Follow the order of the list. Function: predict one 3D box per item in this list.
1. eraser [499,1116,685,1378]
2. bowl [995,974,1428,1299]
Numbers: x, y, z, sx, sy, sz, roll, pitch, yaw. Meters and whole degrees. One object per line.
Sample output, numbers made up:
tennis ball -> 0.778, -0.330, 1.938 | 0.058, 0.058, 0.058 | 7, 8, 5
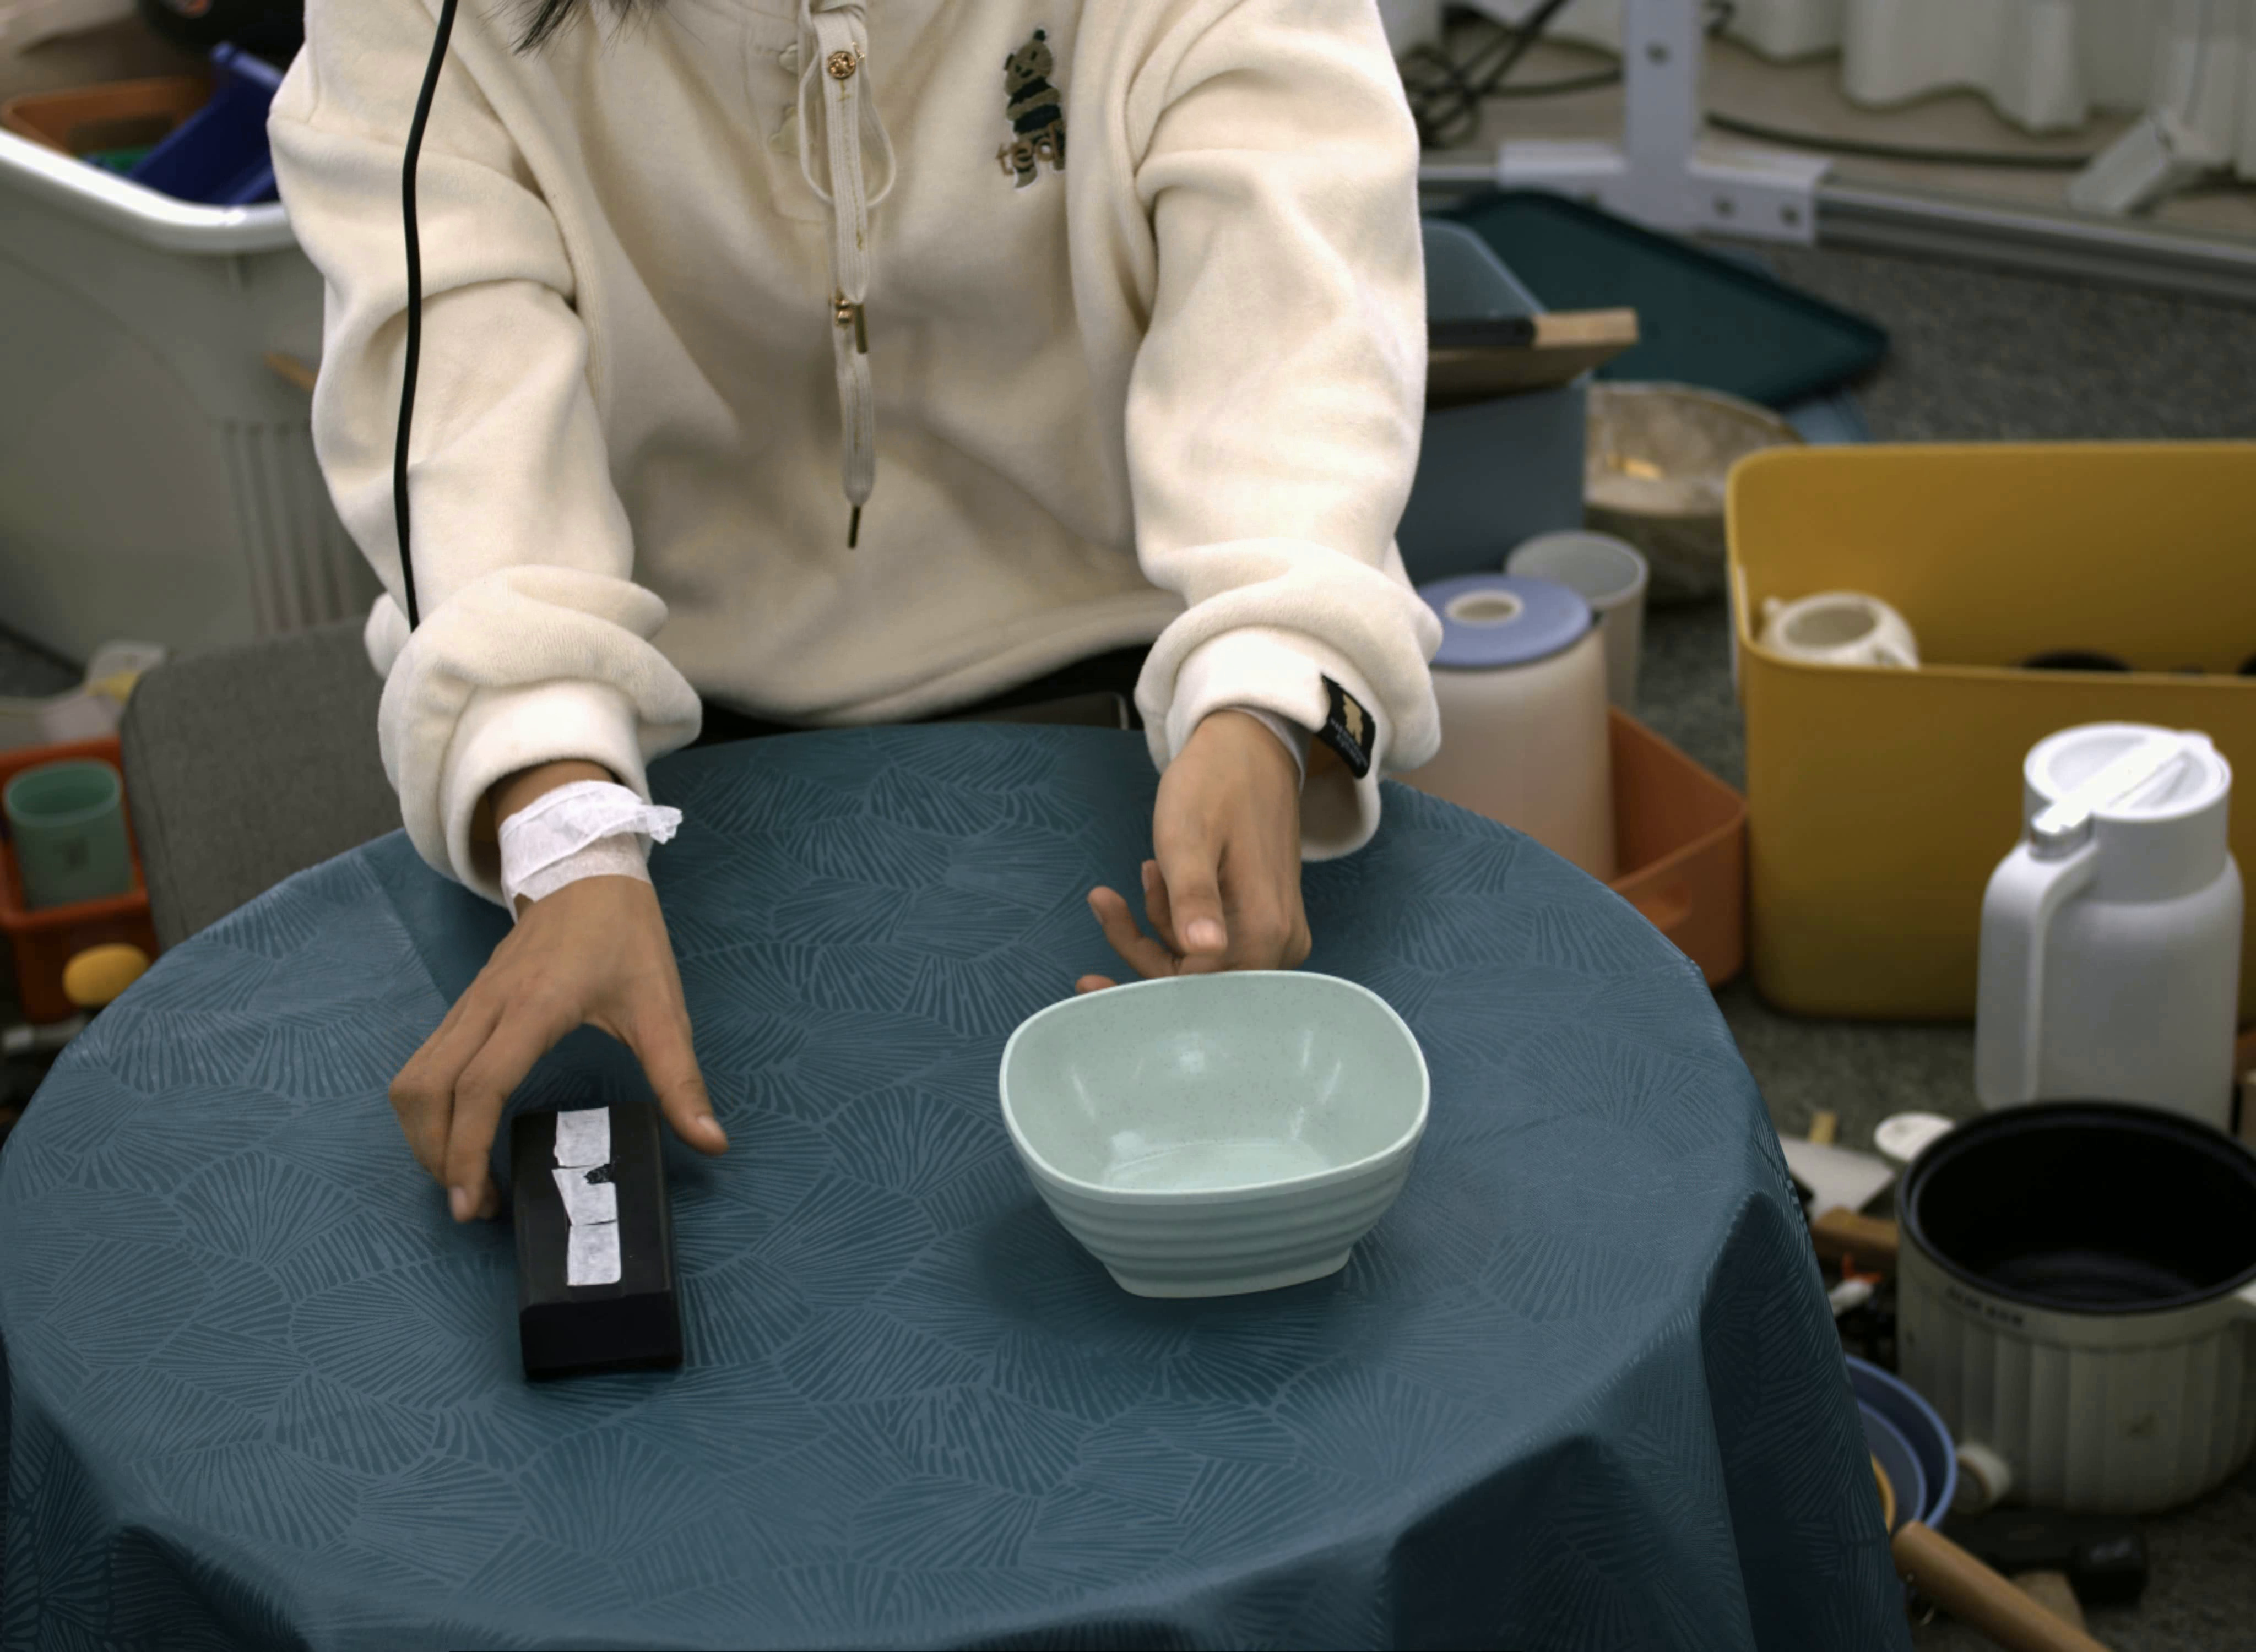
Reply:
eraser -> -0.174, 0.136, 1.822 | 0.053, 0.030, 0.127 | -5, 25, -7
bowl -> 0.027, 0.107, 1.827 | 0.151, 0.058, 0.154 | 0, 27, 0
